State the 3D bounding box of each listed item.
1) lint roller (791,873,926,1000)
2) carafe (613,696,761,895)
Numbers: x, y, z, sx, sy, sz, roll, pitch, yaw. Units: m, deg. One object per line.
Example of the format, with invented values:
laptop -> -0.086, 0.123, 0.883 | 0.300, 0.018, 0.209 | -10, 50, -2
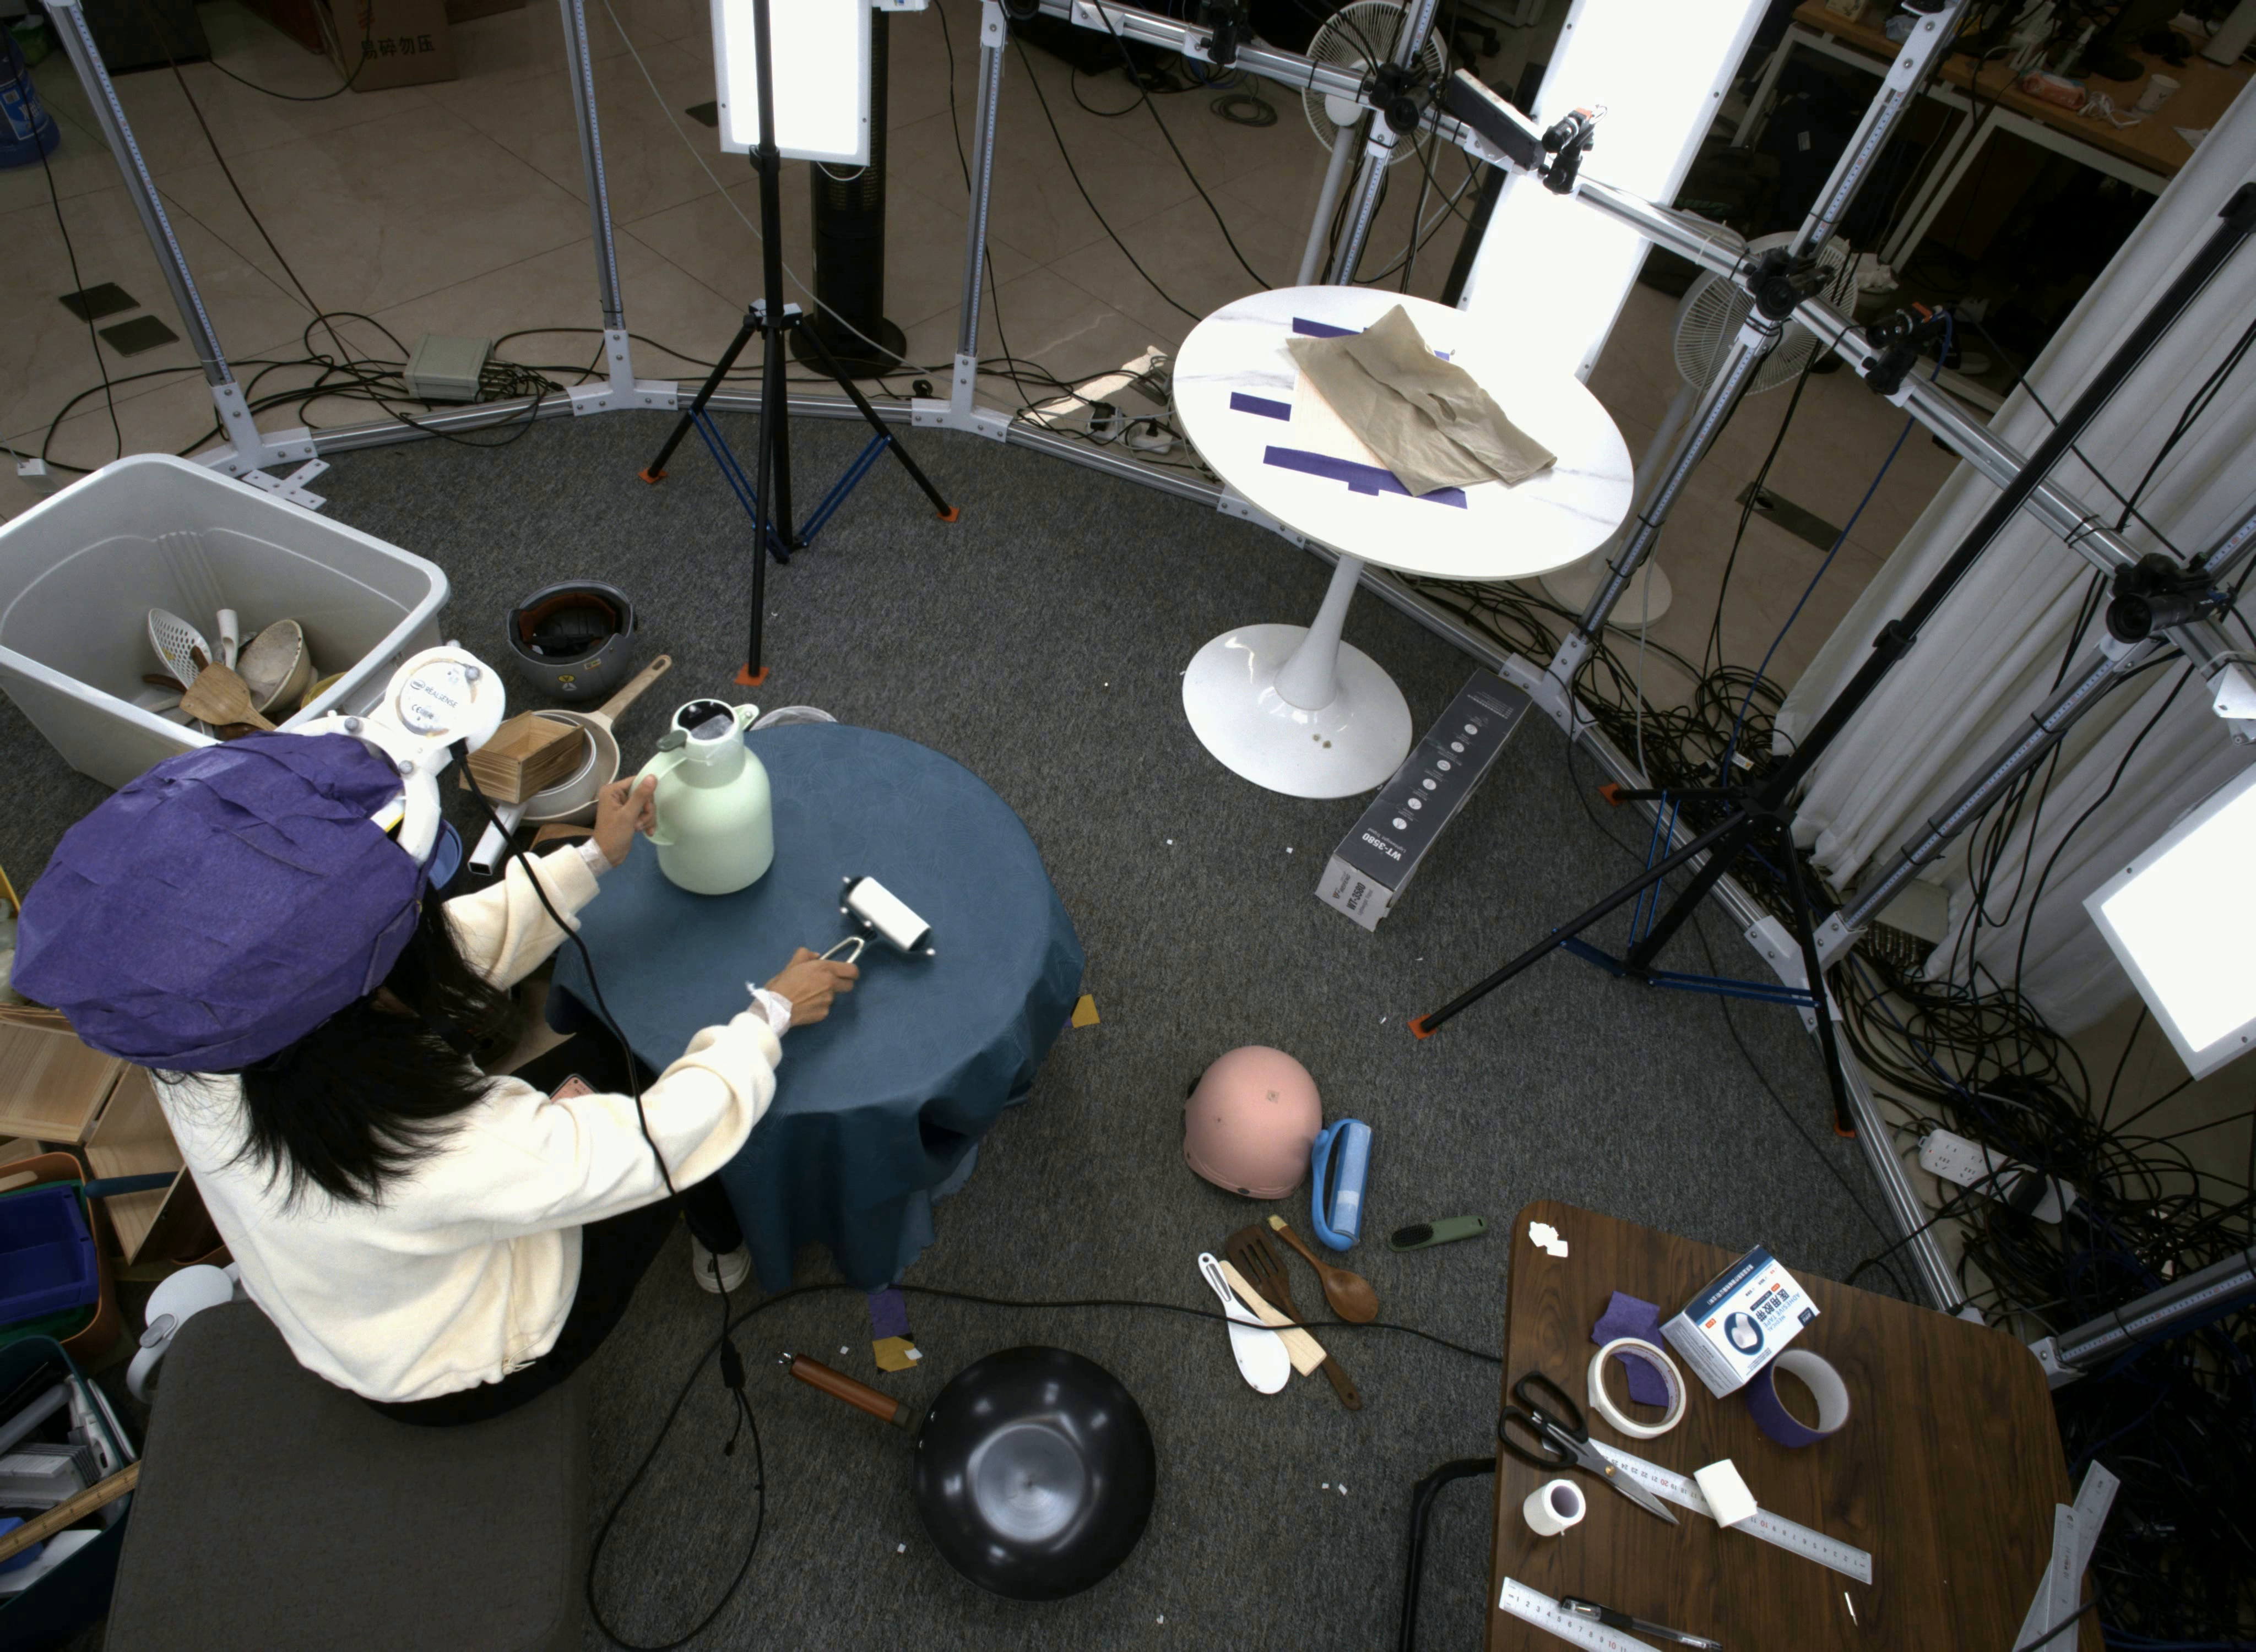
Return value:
lint roller -> -0.342, 0.143, 1.575 | 0.132, 0.049, 0.180 | 37, 40, 8
carafe -> -0.533, -0.036, 1.553 | 0.141, 0.262, 0.187 | 38, 56, 16
